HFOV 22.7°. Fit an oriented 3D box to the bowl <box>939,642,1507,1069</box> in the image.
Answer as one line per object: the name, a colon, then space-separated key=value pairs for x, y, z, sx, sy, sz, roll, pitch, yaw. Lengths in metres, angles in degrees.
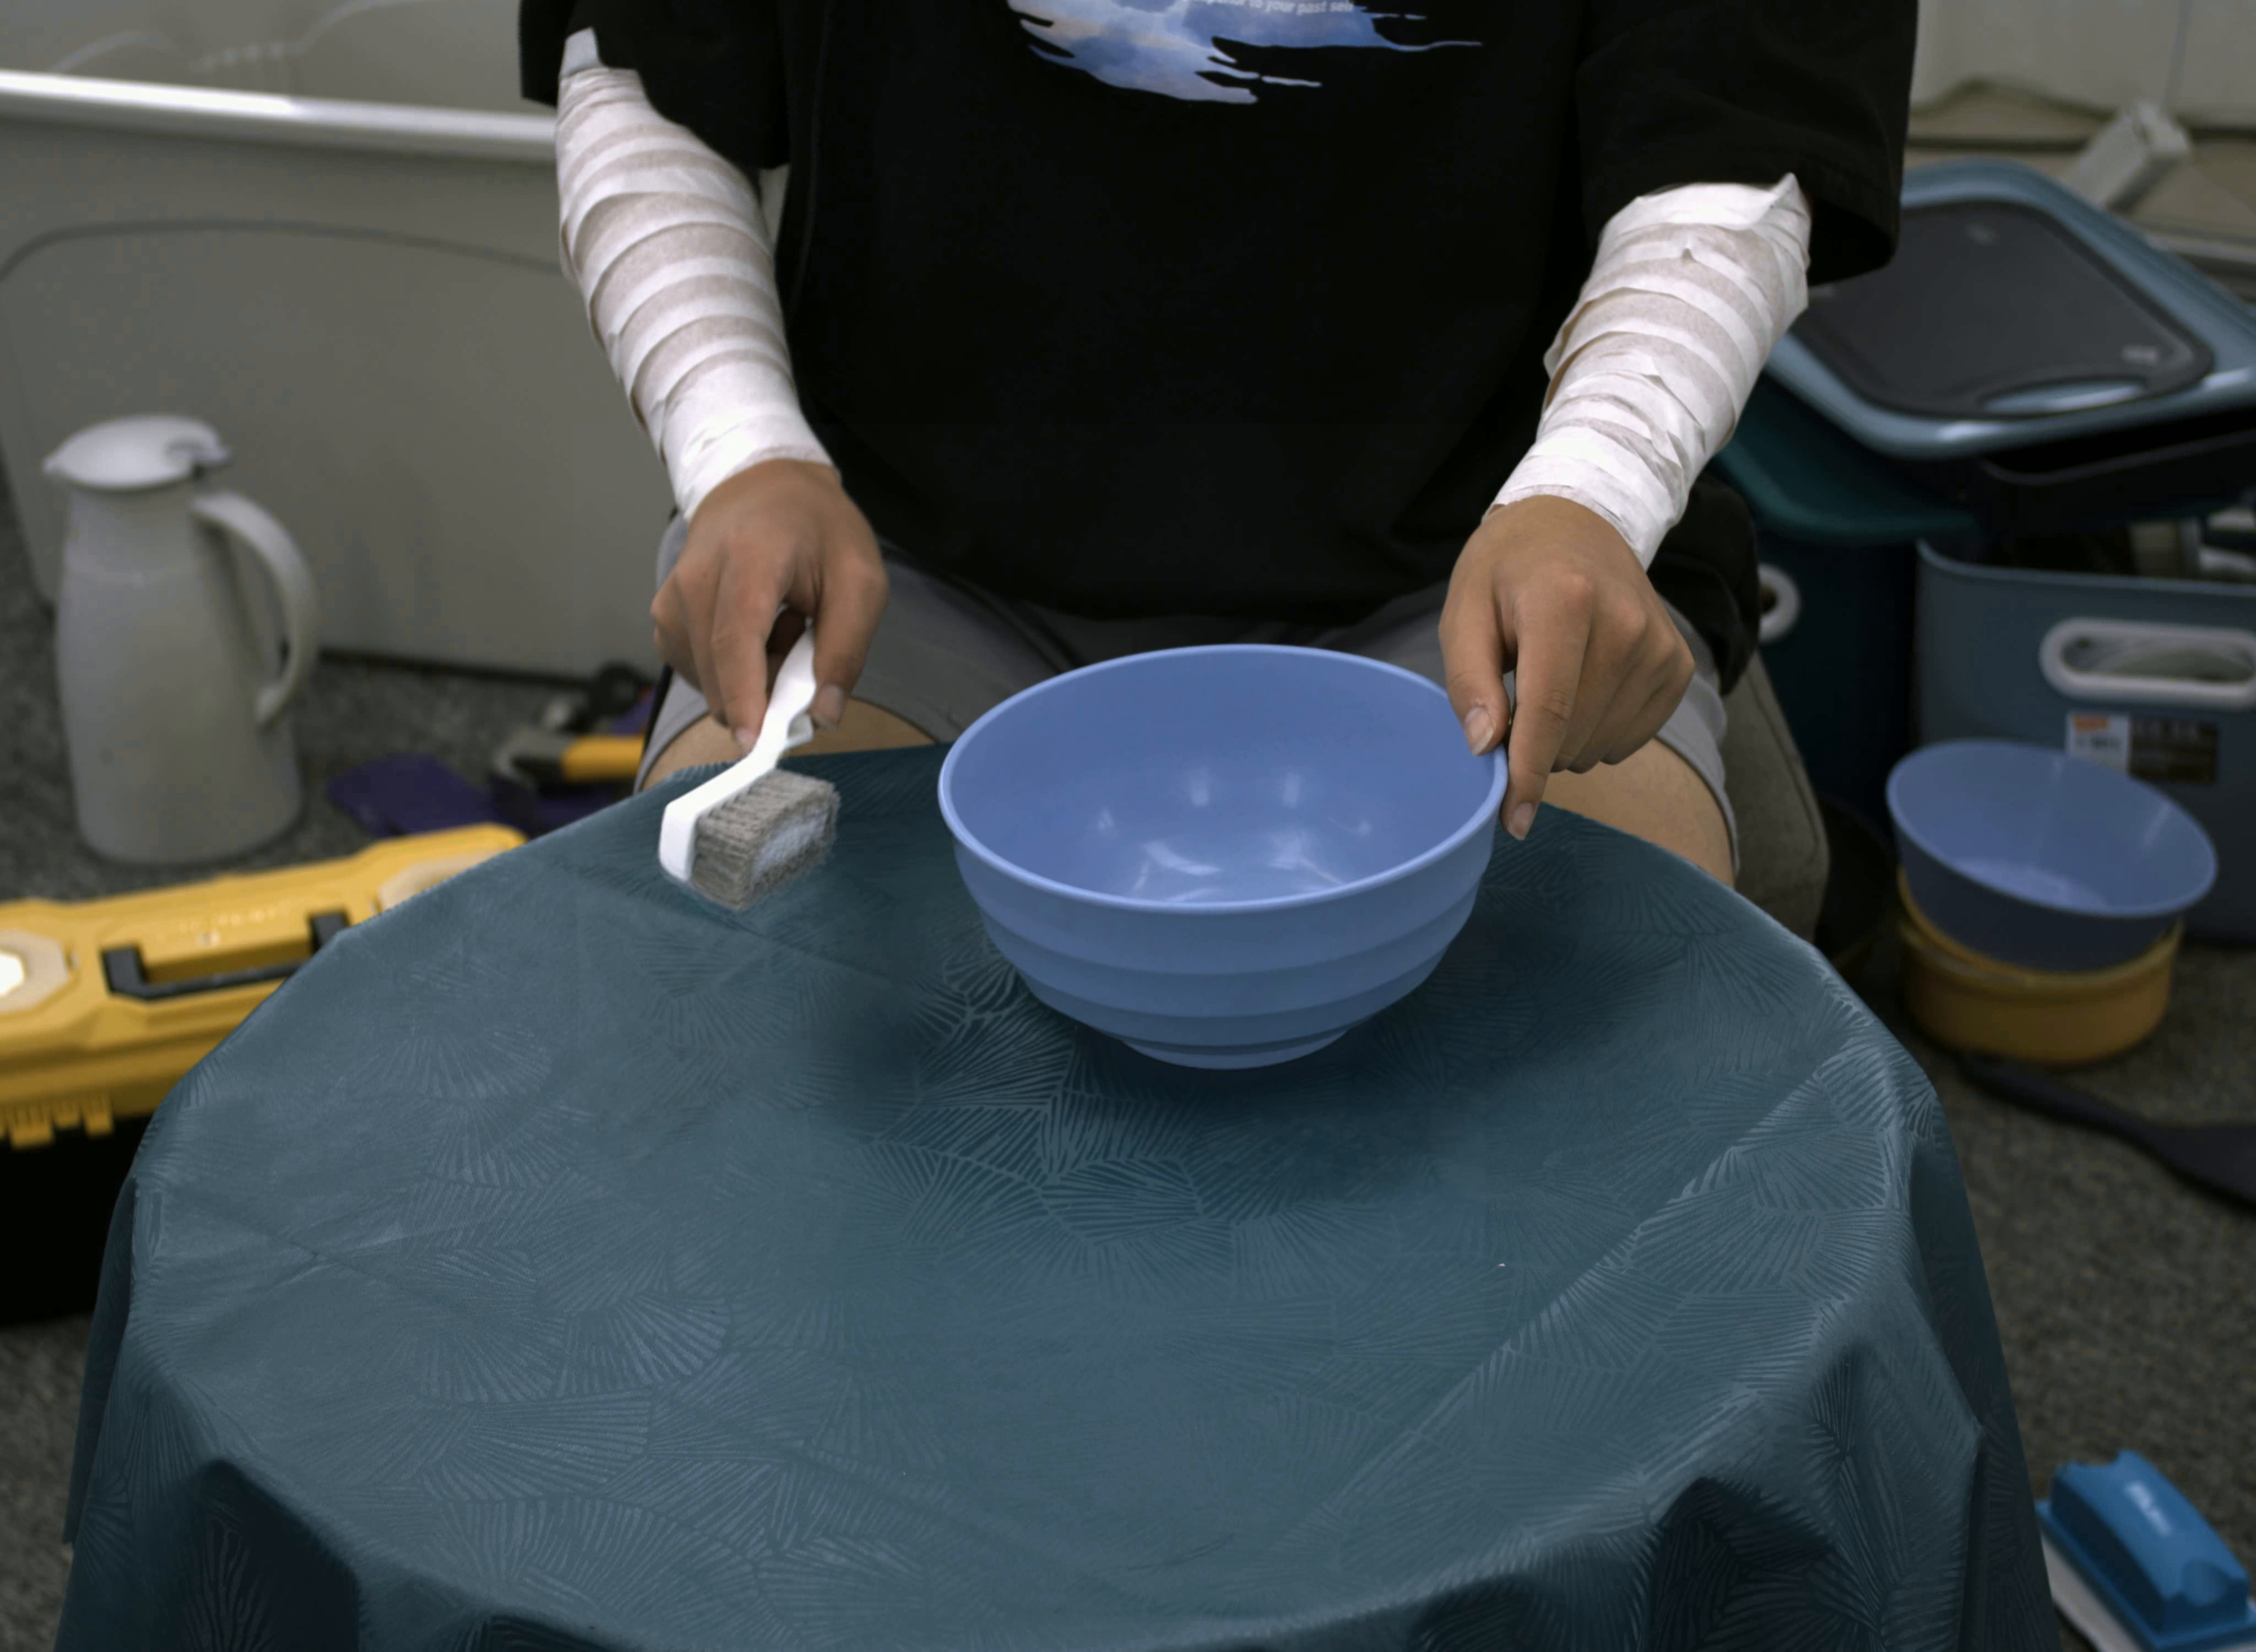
bowl: x=0.035 y=0.021 z=1.950 sx=0.195 sy=0.094 sz=0.199 roll=-3 pitch=28 yaw=2

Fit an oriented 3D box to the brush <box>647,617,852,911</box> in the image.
brush: x=-0.116 y=-0.026 z=2.012 sx=0.050 sy=0.034 sz=0.247 roll=13 pitch=22 yaw=9
